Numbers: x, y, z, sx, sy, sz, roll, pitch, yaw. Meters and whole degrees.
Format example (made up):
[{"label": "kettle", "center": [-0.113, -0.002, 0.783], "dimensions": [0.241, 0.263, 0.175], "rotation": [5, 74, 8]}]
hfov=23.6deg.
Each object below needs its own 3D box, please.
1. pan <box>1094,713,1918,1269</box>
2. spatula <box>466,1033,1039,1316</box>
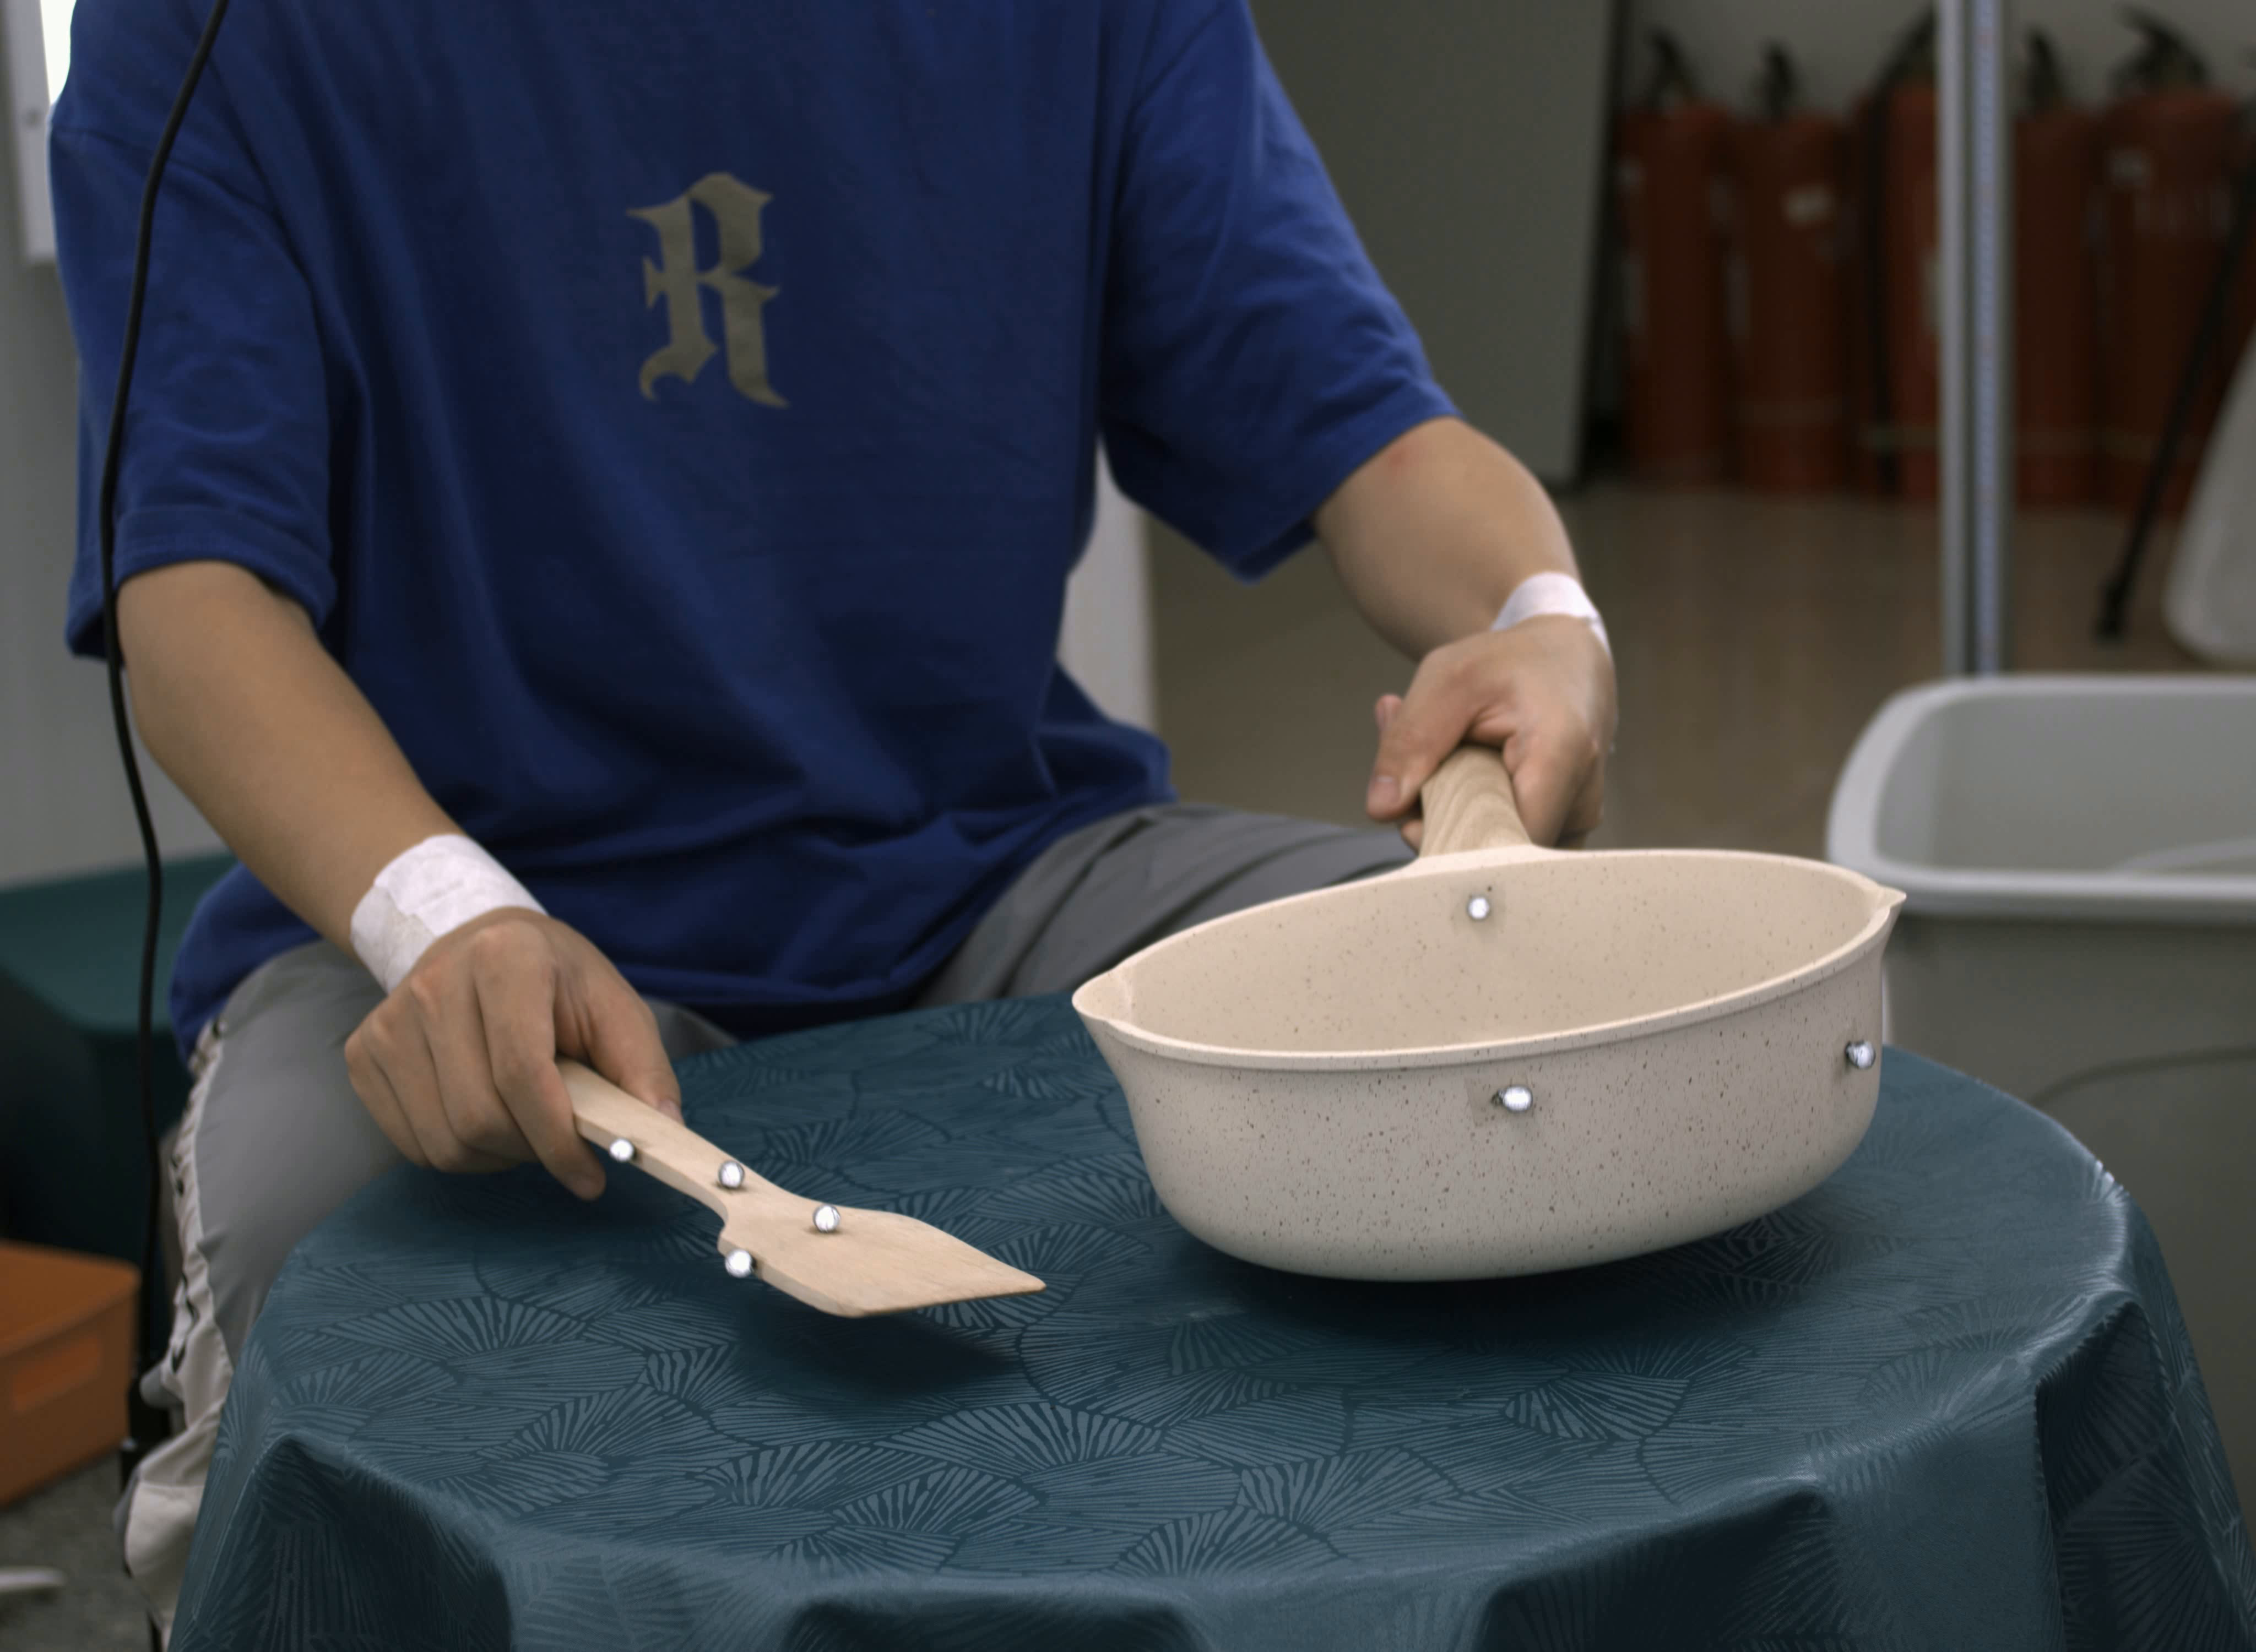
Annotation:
[{"label": "pan", "center": [0.123, 0.048, 1.768], "dimensions": [0.260, 0.103, 0.435], "rotation": [-10, 10, 3]}, {"label": "spatula", "center": [-0.134, 0.108, 1.710], "dimensions": [0.070, 0.011, 0.296], "rotation": [-5, 16, -34]}]
